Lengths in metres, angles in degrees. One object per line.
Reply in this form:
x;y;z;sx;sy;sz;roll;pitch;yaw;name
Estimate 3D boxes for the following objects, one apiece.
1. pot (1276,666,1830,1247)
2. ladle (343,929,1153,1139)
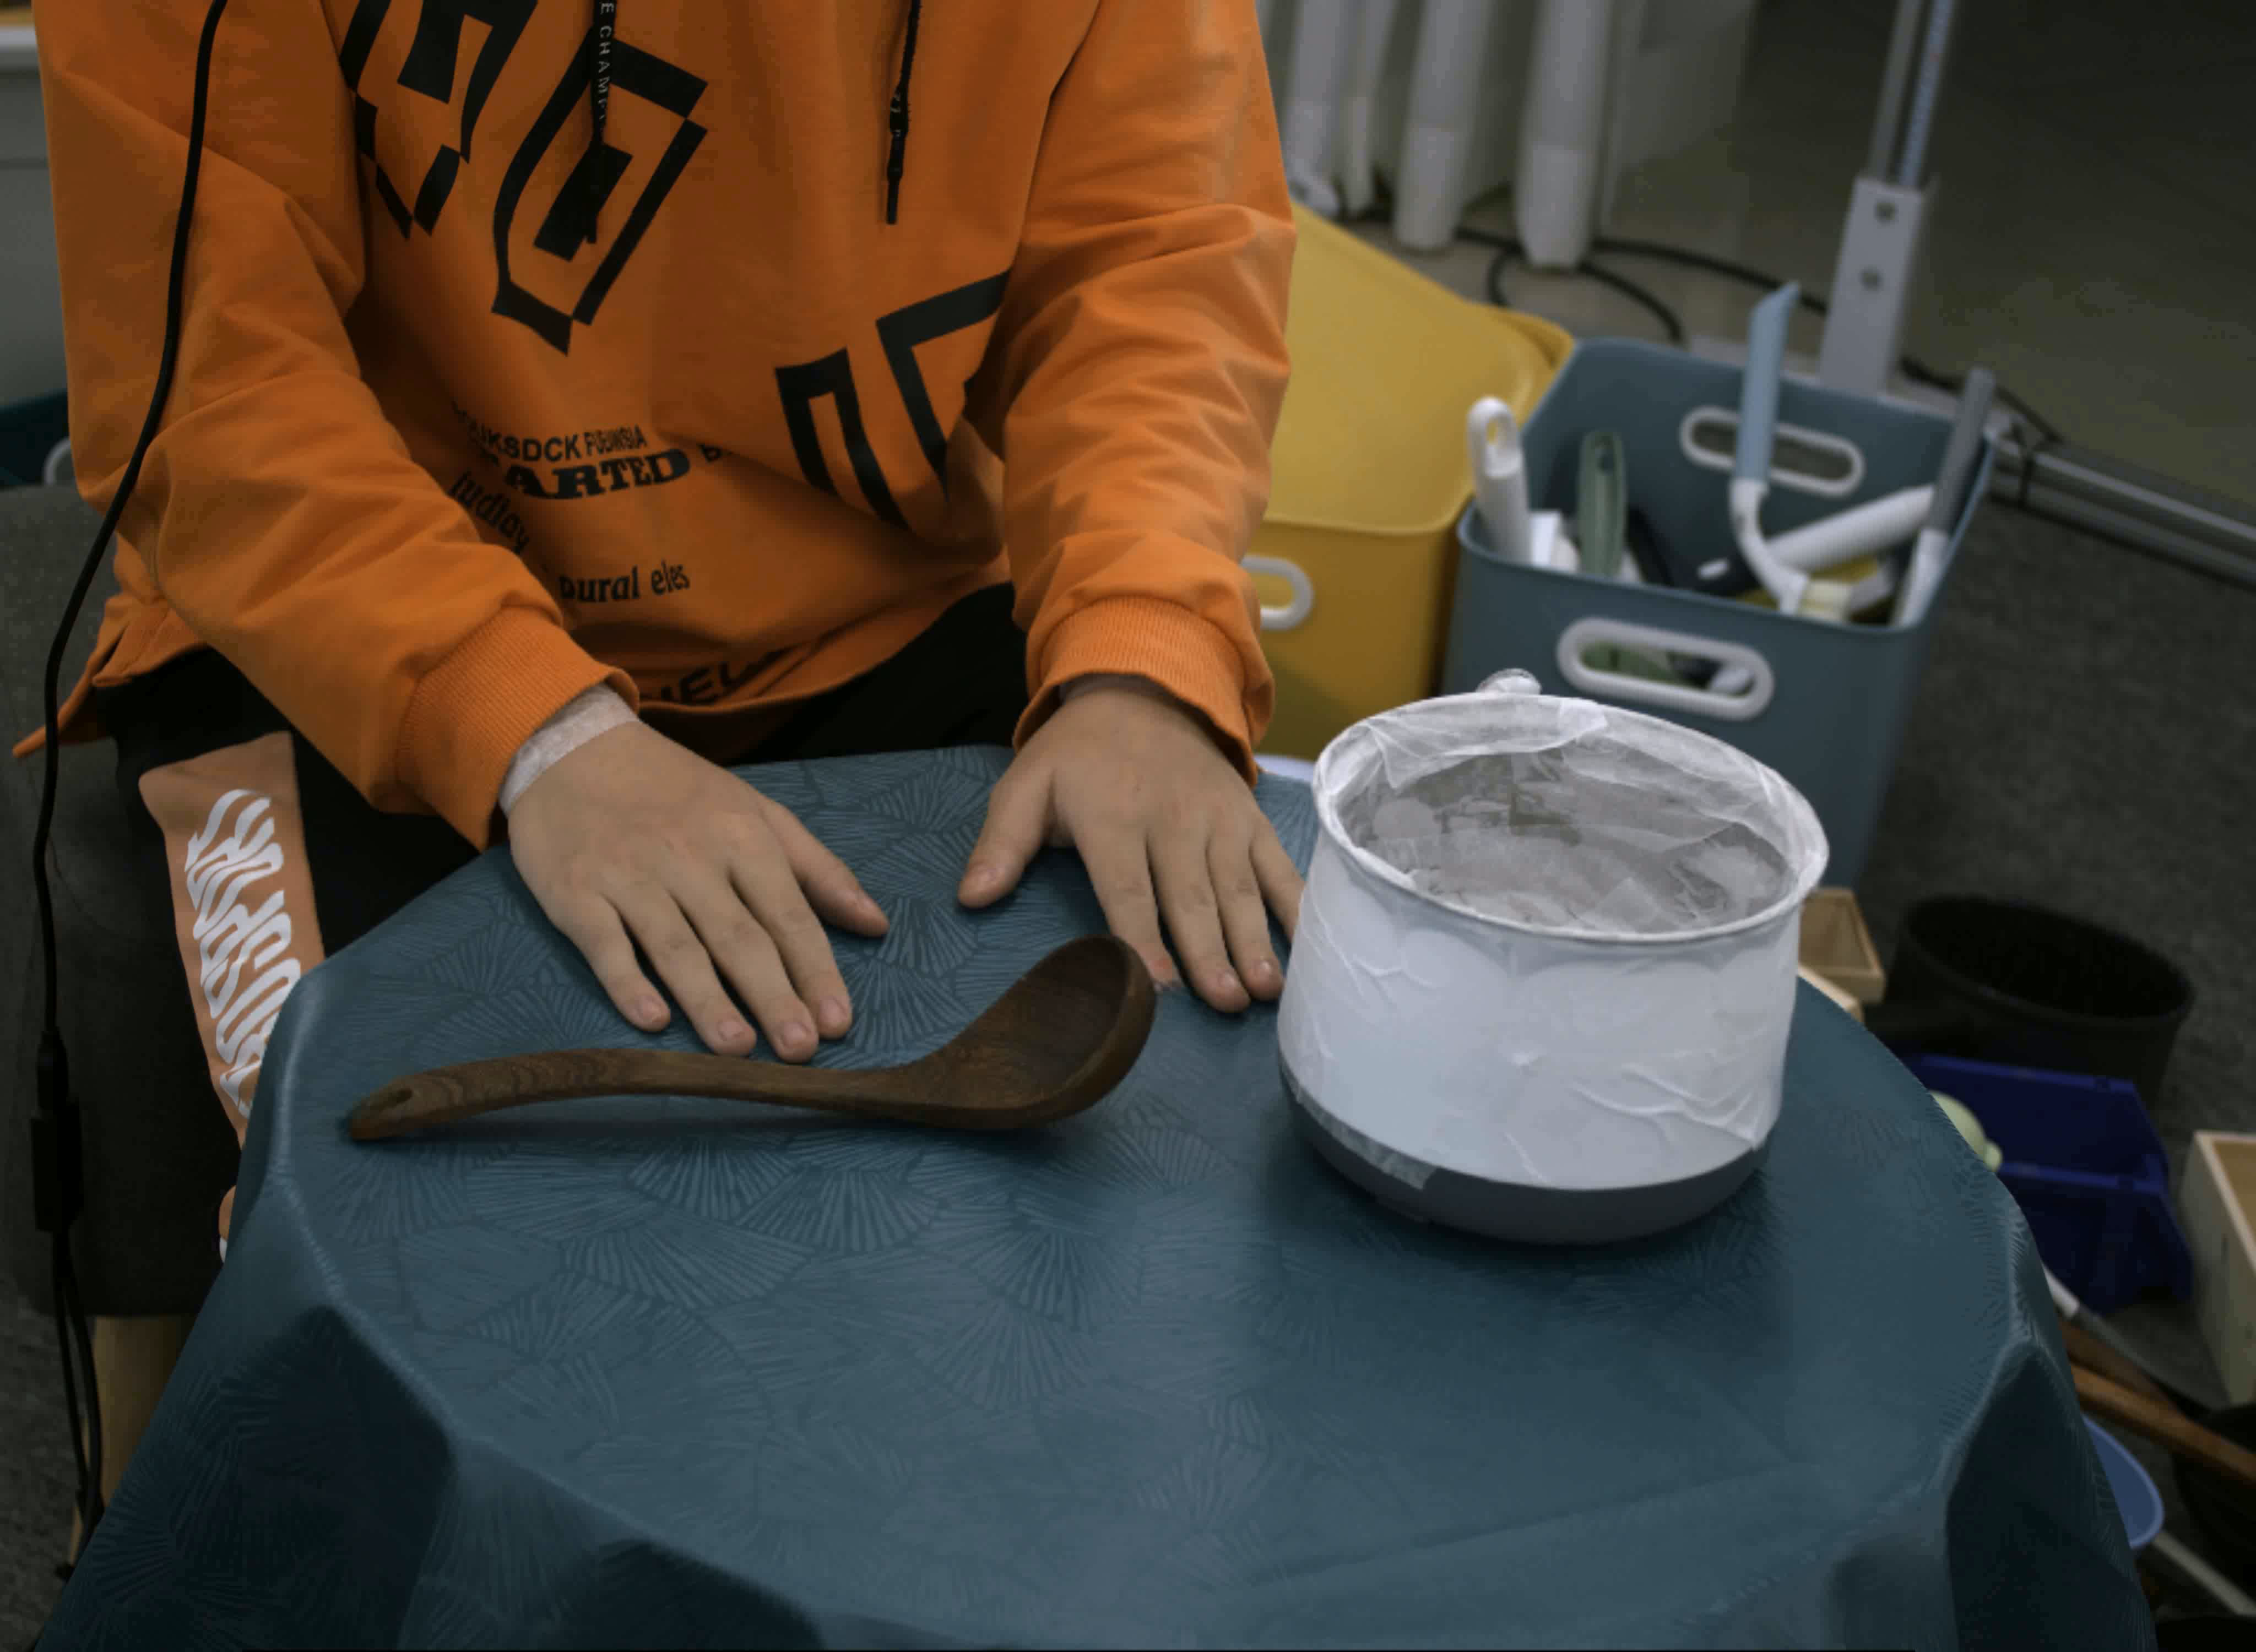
0.138;0.038;1.850;0.178;0.136;0.235;2;27;-10;pot
-0.127;0.071;1.801;0.272;0.071;0.076;0;25;-14;ladle
